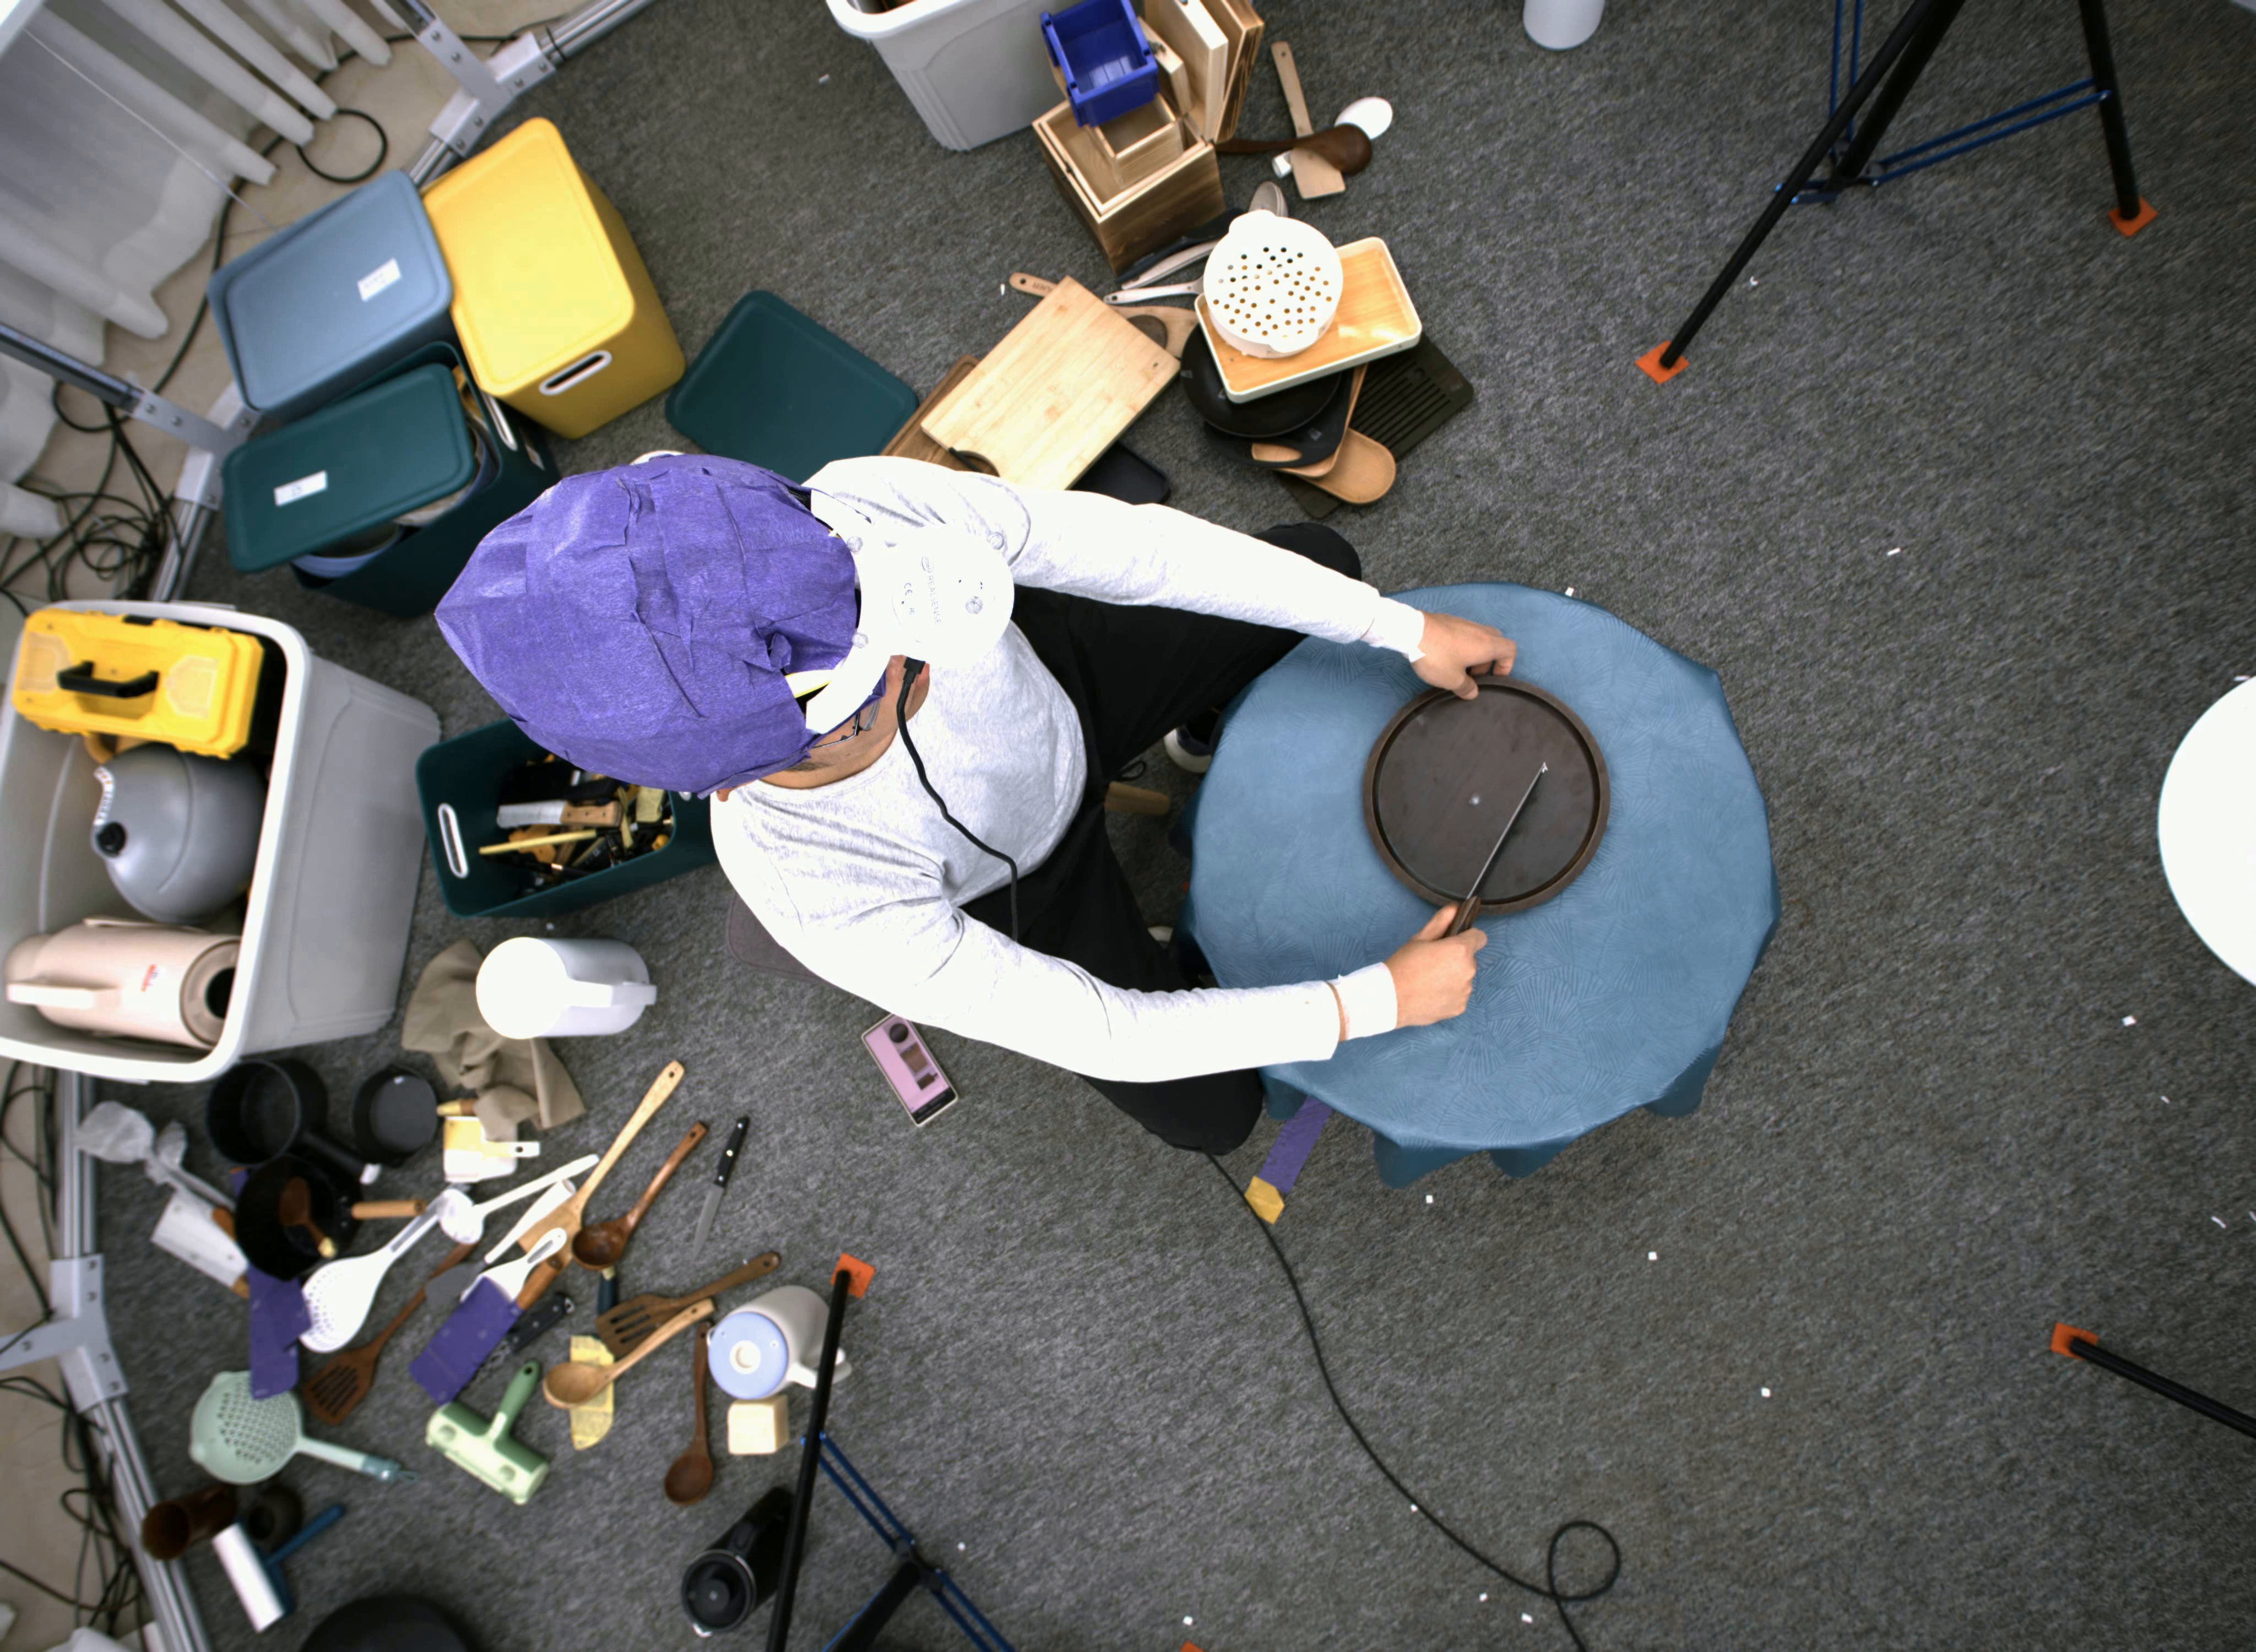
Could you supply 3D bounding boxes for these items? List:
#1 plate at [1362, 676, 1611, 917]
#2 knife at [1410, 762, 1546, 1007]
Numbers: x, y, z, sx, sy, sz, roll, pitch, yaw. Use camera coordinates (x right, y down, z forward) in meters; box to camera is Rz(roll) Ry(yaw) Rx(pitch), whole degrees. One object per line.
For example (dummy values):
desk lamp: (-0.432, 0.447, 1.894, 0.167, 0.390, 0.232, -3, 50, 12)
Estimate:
plate: (0.372, -0.033, 1.434, 0.256, 0.029, 0.254, -1, 88, 12)
knife: (0.360, 0.054, 1.400, 0.020, 0.050, 0.287, 30, 84, 1)
